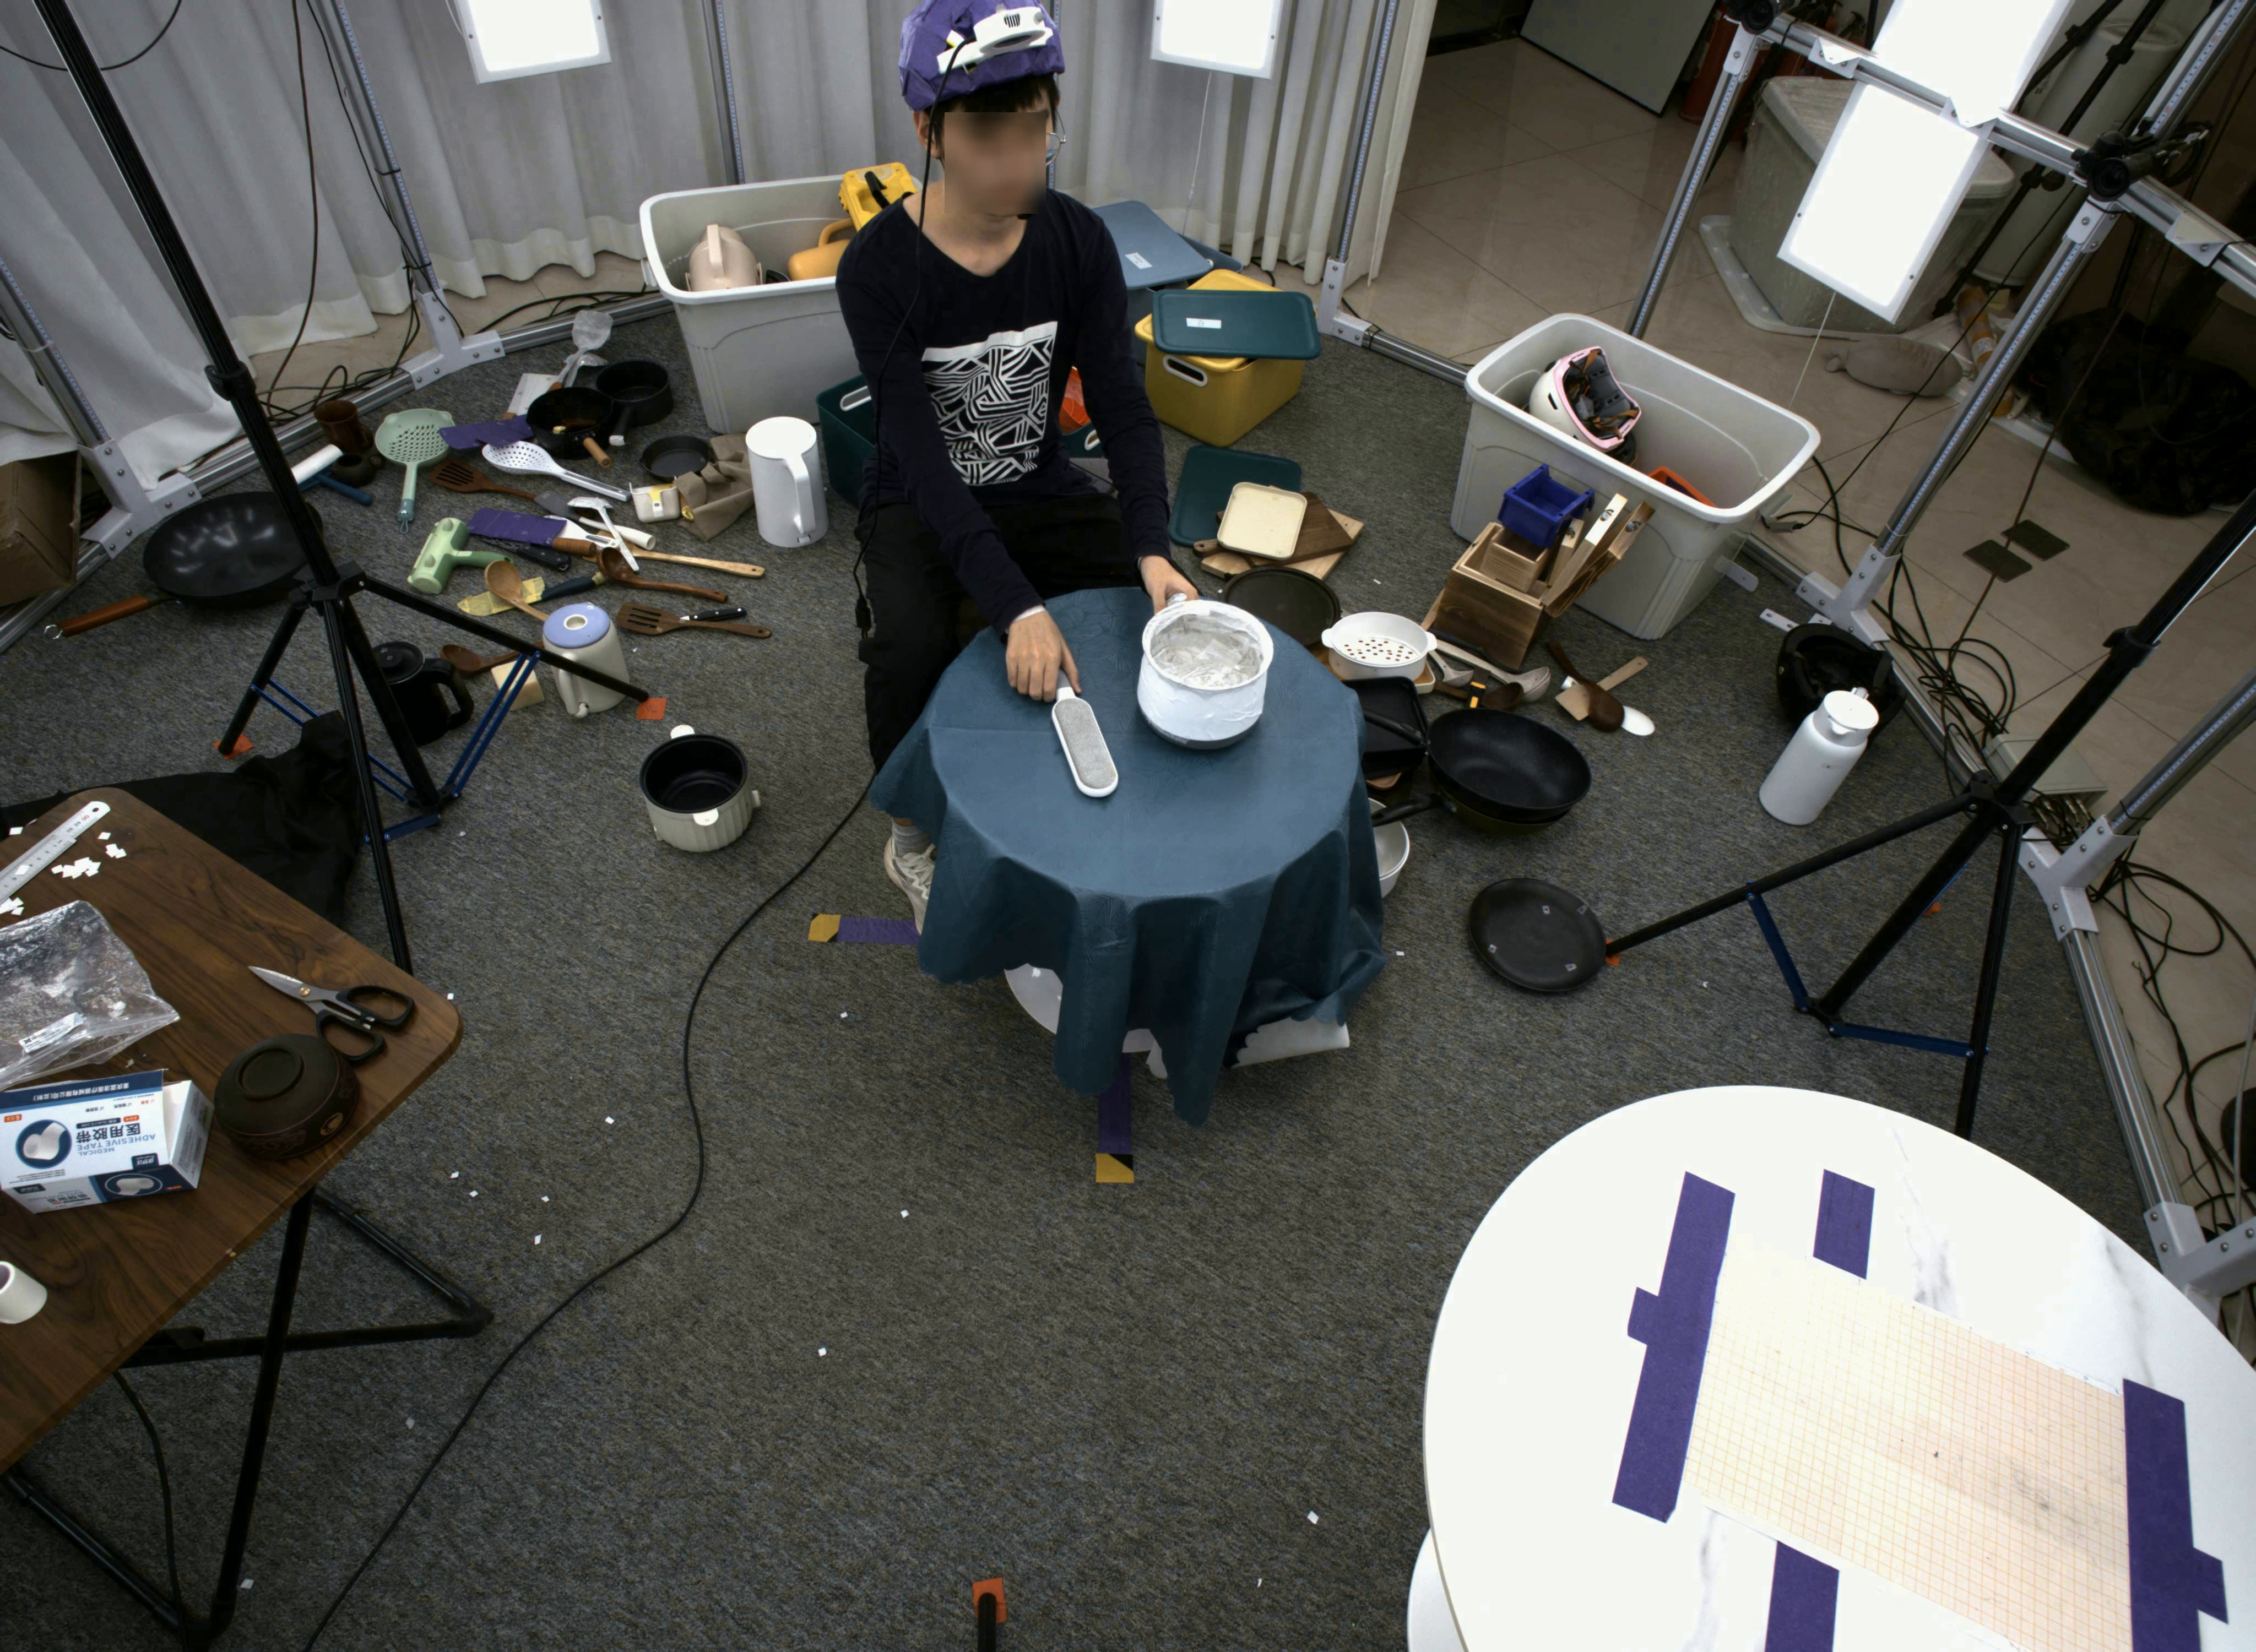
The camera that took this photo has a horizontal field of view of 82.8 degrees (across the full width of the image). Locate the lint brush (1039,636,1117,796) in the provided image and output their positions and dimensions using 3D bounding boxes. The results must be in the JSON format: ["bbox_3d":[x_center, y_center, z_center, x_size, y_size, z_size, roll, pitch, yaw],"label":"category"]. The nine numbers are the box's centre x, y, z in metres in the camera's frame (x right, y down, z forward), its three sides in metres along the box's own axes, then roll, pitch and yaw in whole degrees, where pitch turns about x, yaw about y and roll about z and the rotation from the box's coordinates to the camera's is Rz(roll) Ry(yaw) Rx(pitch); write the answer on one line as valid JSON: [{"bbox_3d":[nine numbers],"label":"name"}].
[{"bbox_3d":[-0.076,-0.159,1.782,0.060,0.020,0.316,-14,51,-8],"label":"lint brush"}]

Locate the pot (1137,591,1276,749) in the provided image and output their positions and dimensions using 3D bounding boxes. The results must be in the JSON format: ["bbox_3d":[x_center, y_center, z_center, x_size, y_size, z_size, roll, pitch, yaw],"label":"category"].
[{"bbox_3d":[0.094,-0.226,1.778,0.179,0.133,0.239,-12,52,-17],"label":"pot"}]
